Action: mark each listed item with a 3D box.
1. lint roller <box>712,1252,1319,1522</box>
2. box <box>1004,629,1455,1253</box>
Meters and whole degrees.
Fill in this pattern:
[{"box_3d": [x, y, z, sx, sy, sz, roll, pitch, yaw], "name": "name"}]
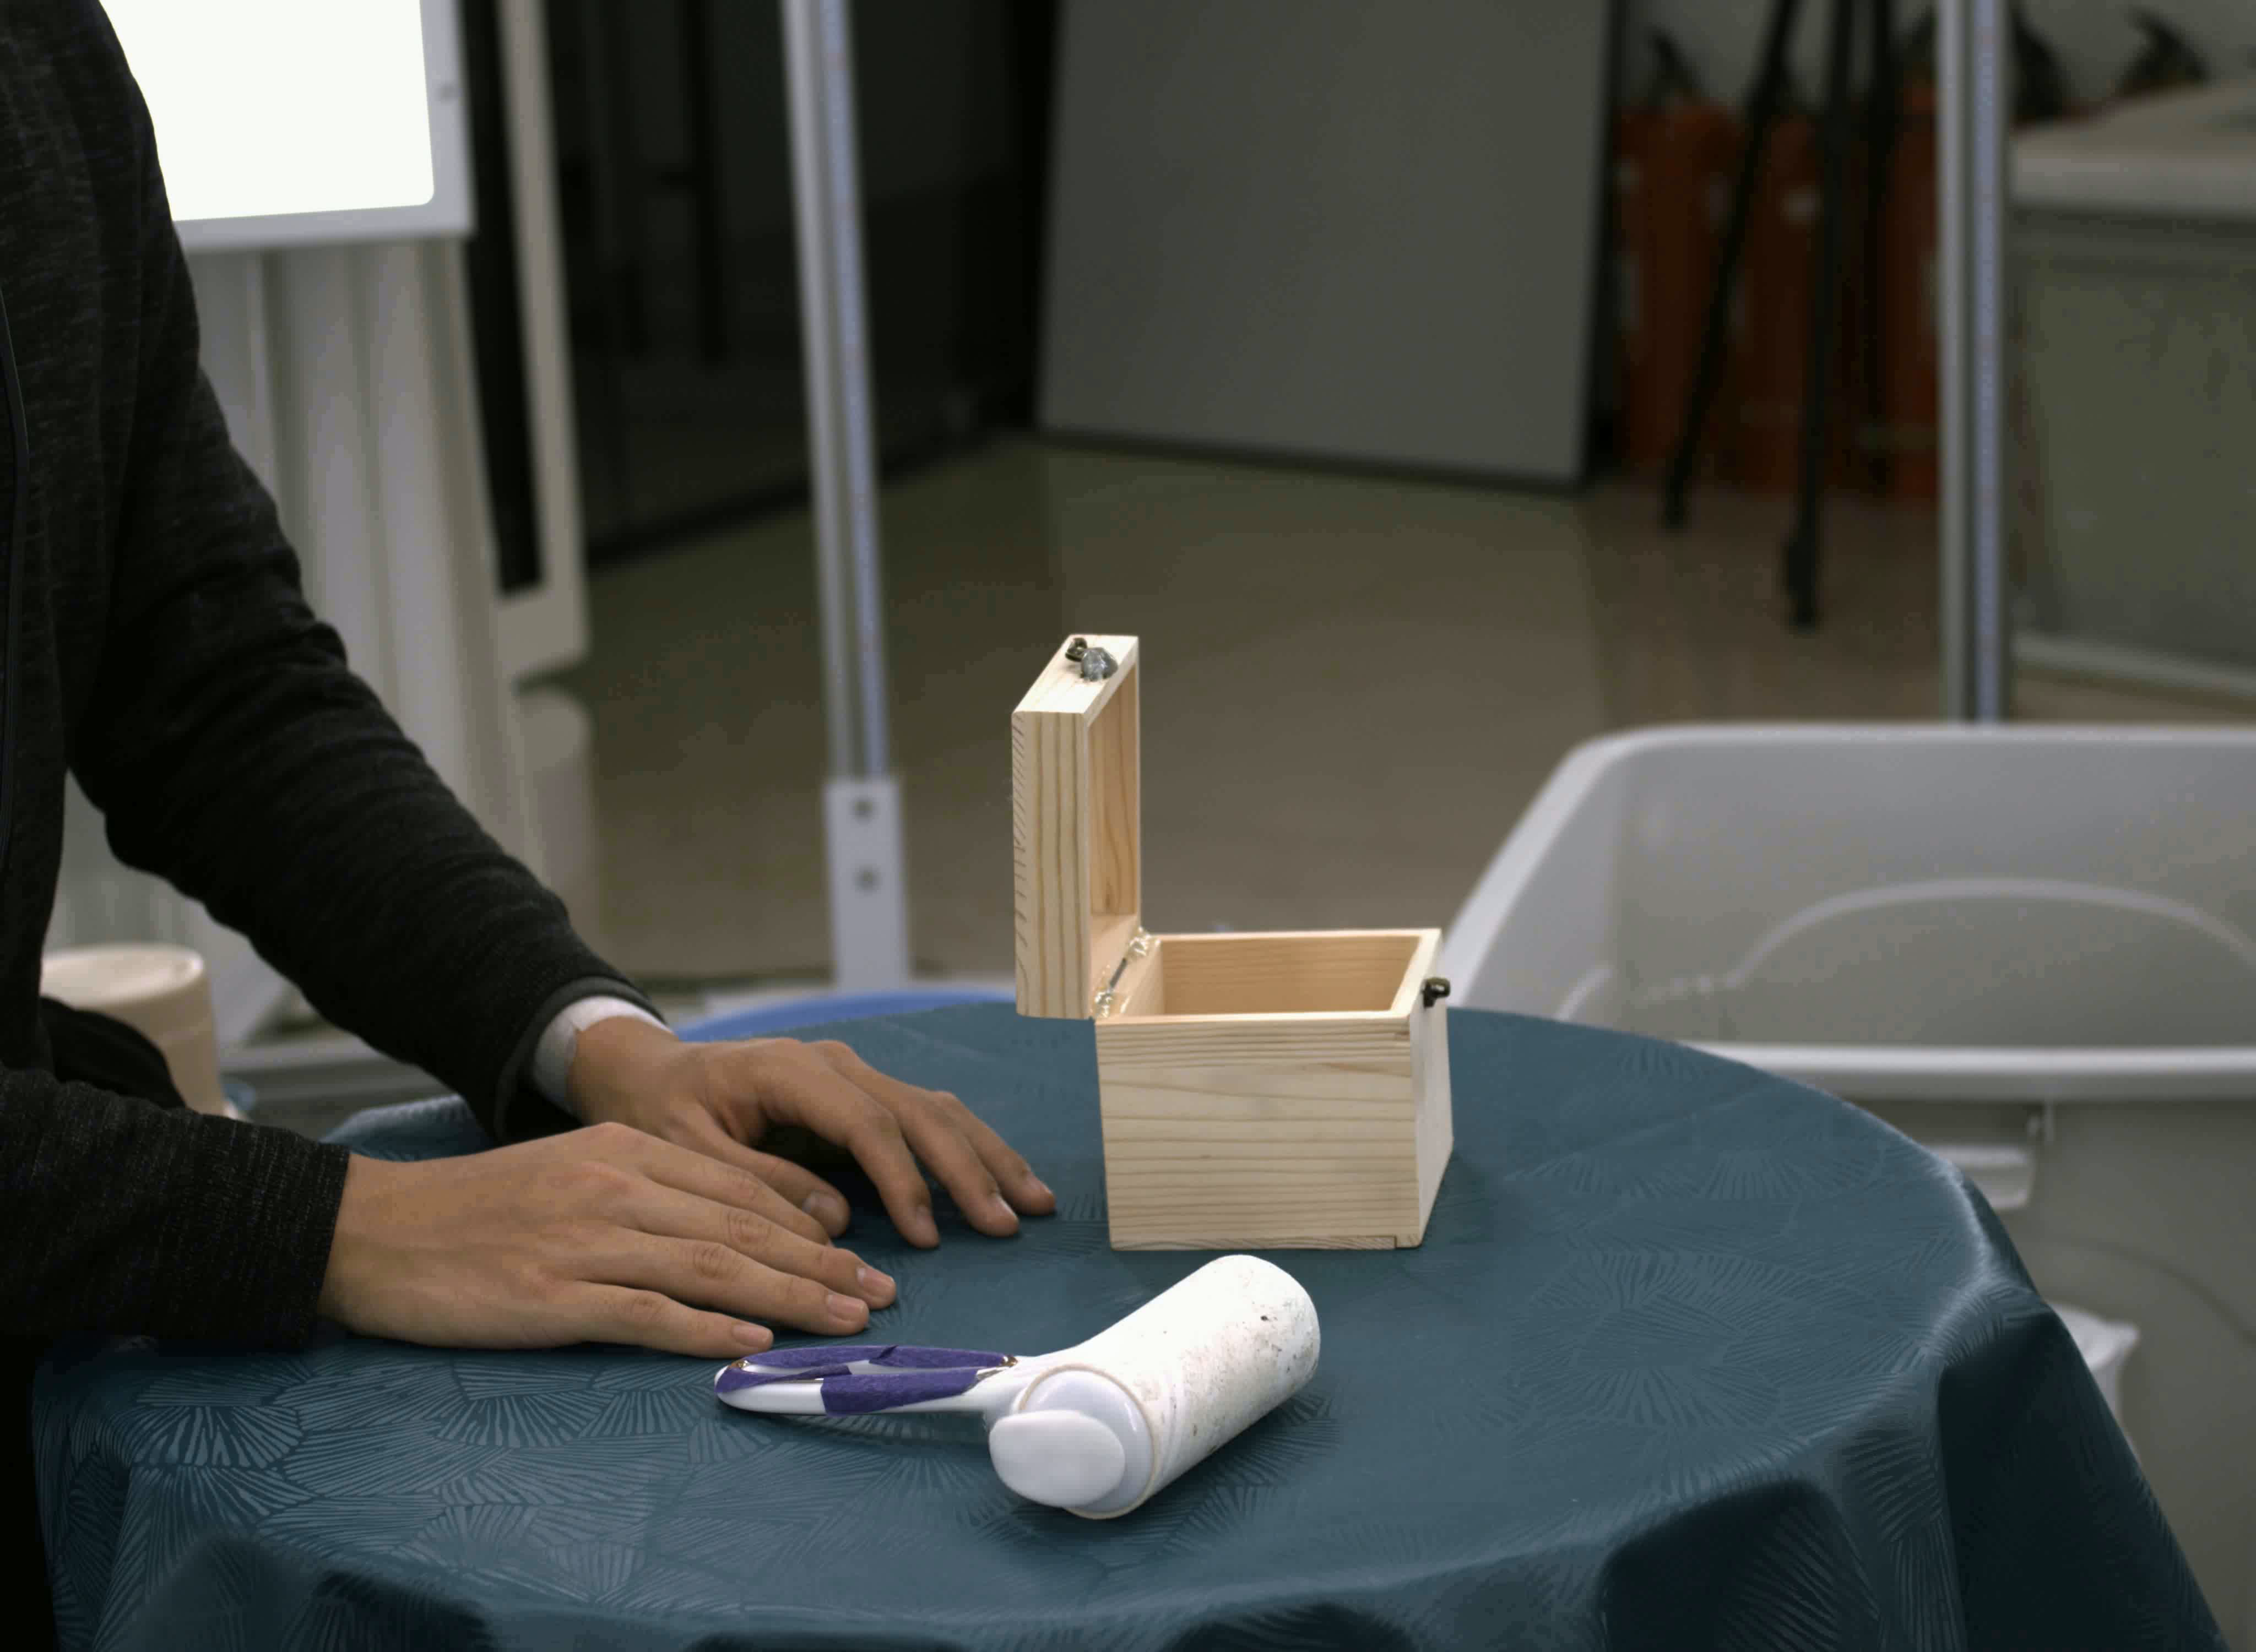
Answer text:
[{"box_3d": [-0.043, 0.152, 1.556, 0.181, 0.051, 0.131, 6, 18, 31], "name": "lint roller"}, {"box_3d": [0.037, 0.033, 1.731, 0.133, 0.186, 0.102, -2, 13, 11], "name": "box"}]
